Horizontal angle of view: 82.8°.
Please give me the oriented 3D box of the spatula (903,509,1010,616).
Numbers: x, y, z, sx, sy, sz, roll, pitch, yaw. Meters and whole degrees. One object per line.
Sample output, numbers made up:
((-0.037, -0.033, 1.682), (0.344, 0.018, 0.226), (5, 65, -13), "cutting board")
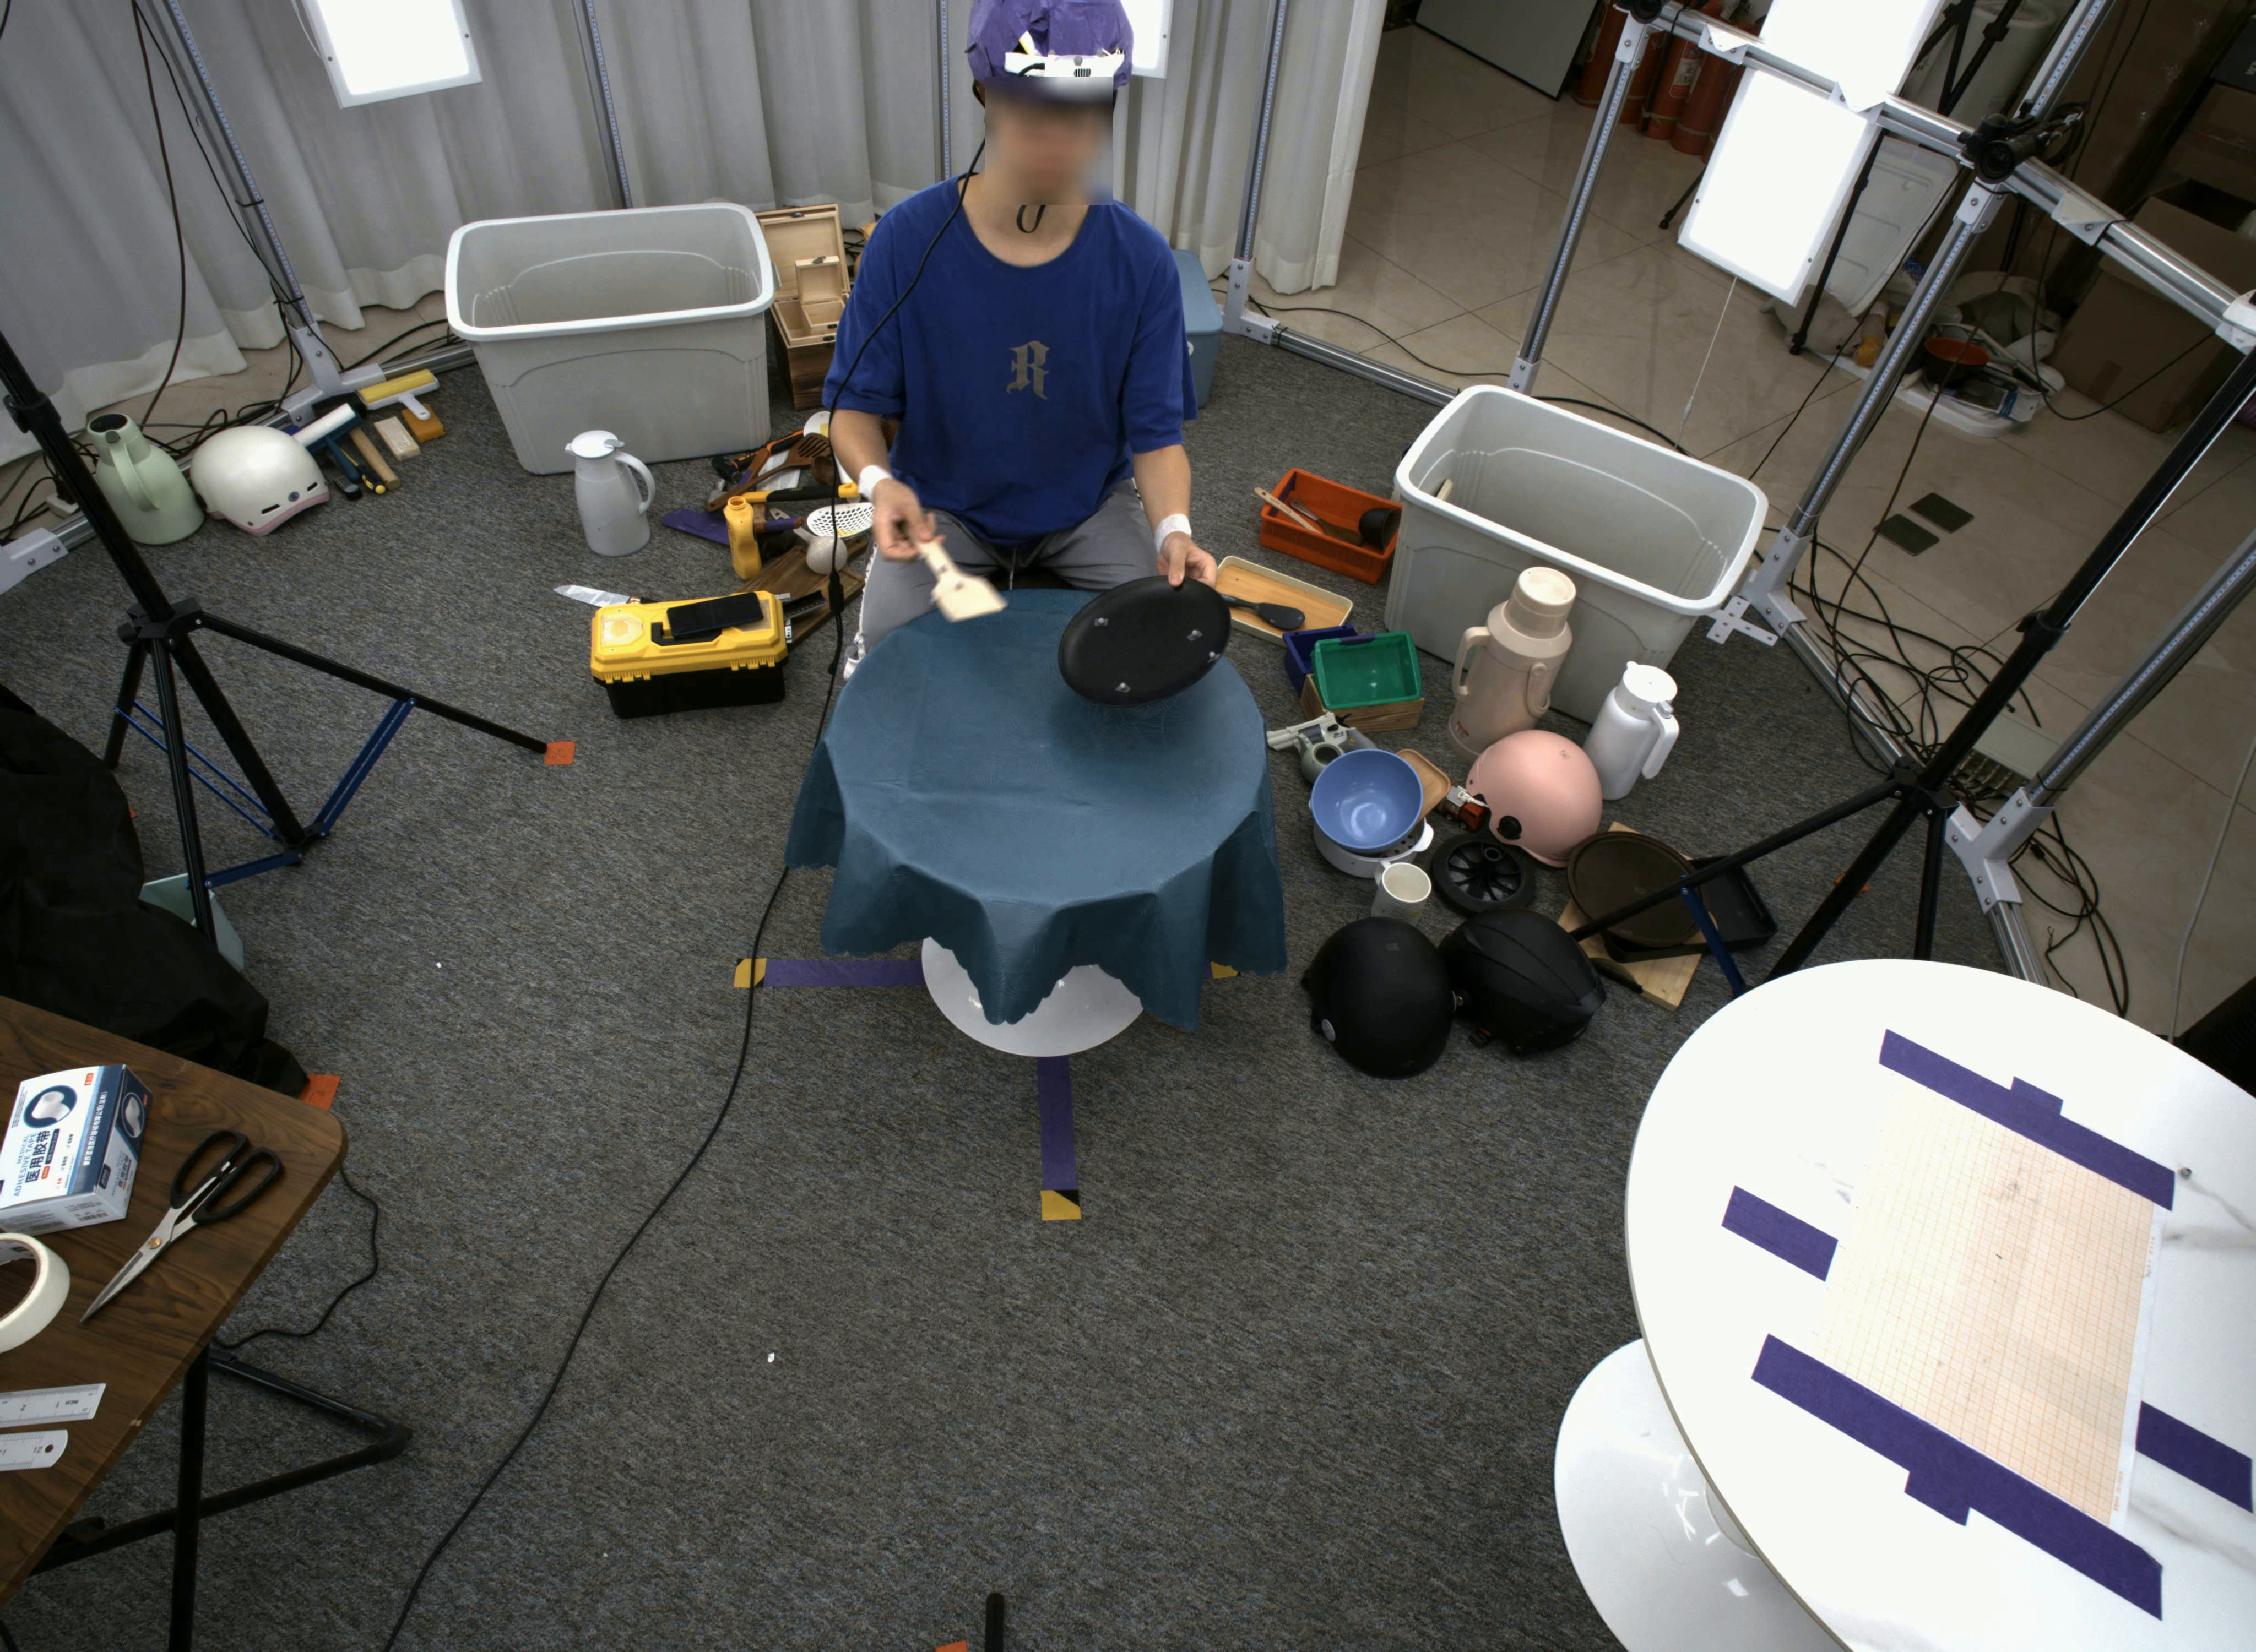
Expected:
((-0.240, -0.350, 1.695), (0.072, 0.010, 0.300), (-18, 43, -18), "spatula")

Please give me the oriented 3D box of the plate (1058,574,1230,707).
((0.023, -0.250, 1.749), (0.244, 0.023, 0.250), (-10, 50, 13), "plate")
